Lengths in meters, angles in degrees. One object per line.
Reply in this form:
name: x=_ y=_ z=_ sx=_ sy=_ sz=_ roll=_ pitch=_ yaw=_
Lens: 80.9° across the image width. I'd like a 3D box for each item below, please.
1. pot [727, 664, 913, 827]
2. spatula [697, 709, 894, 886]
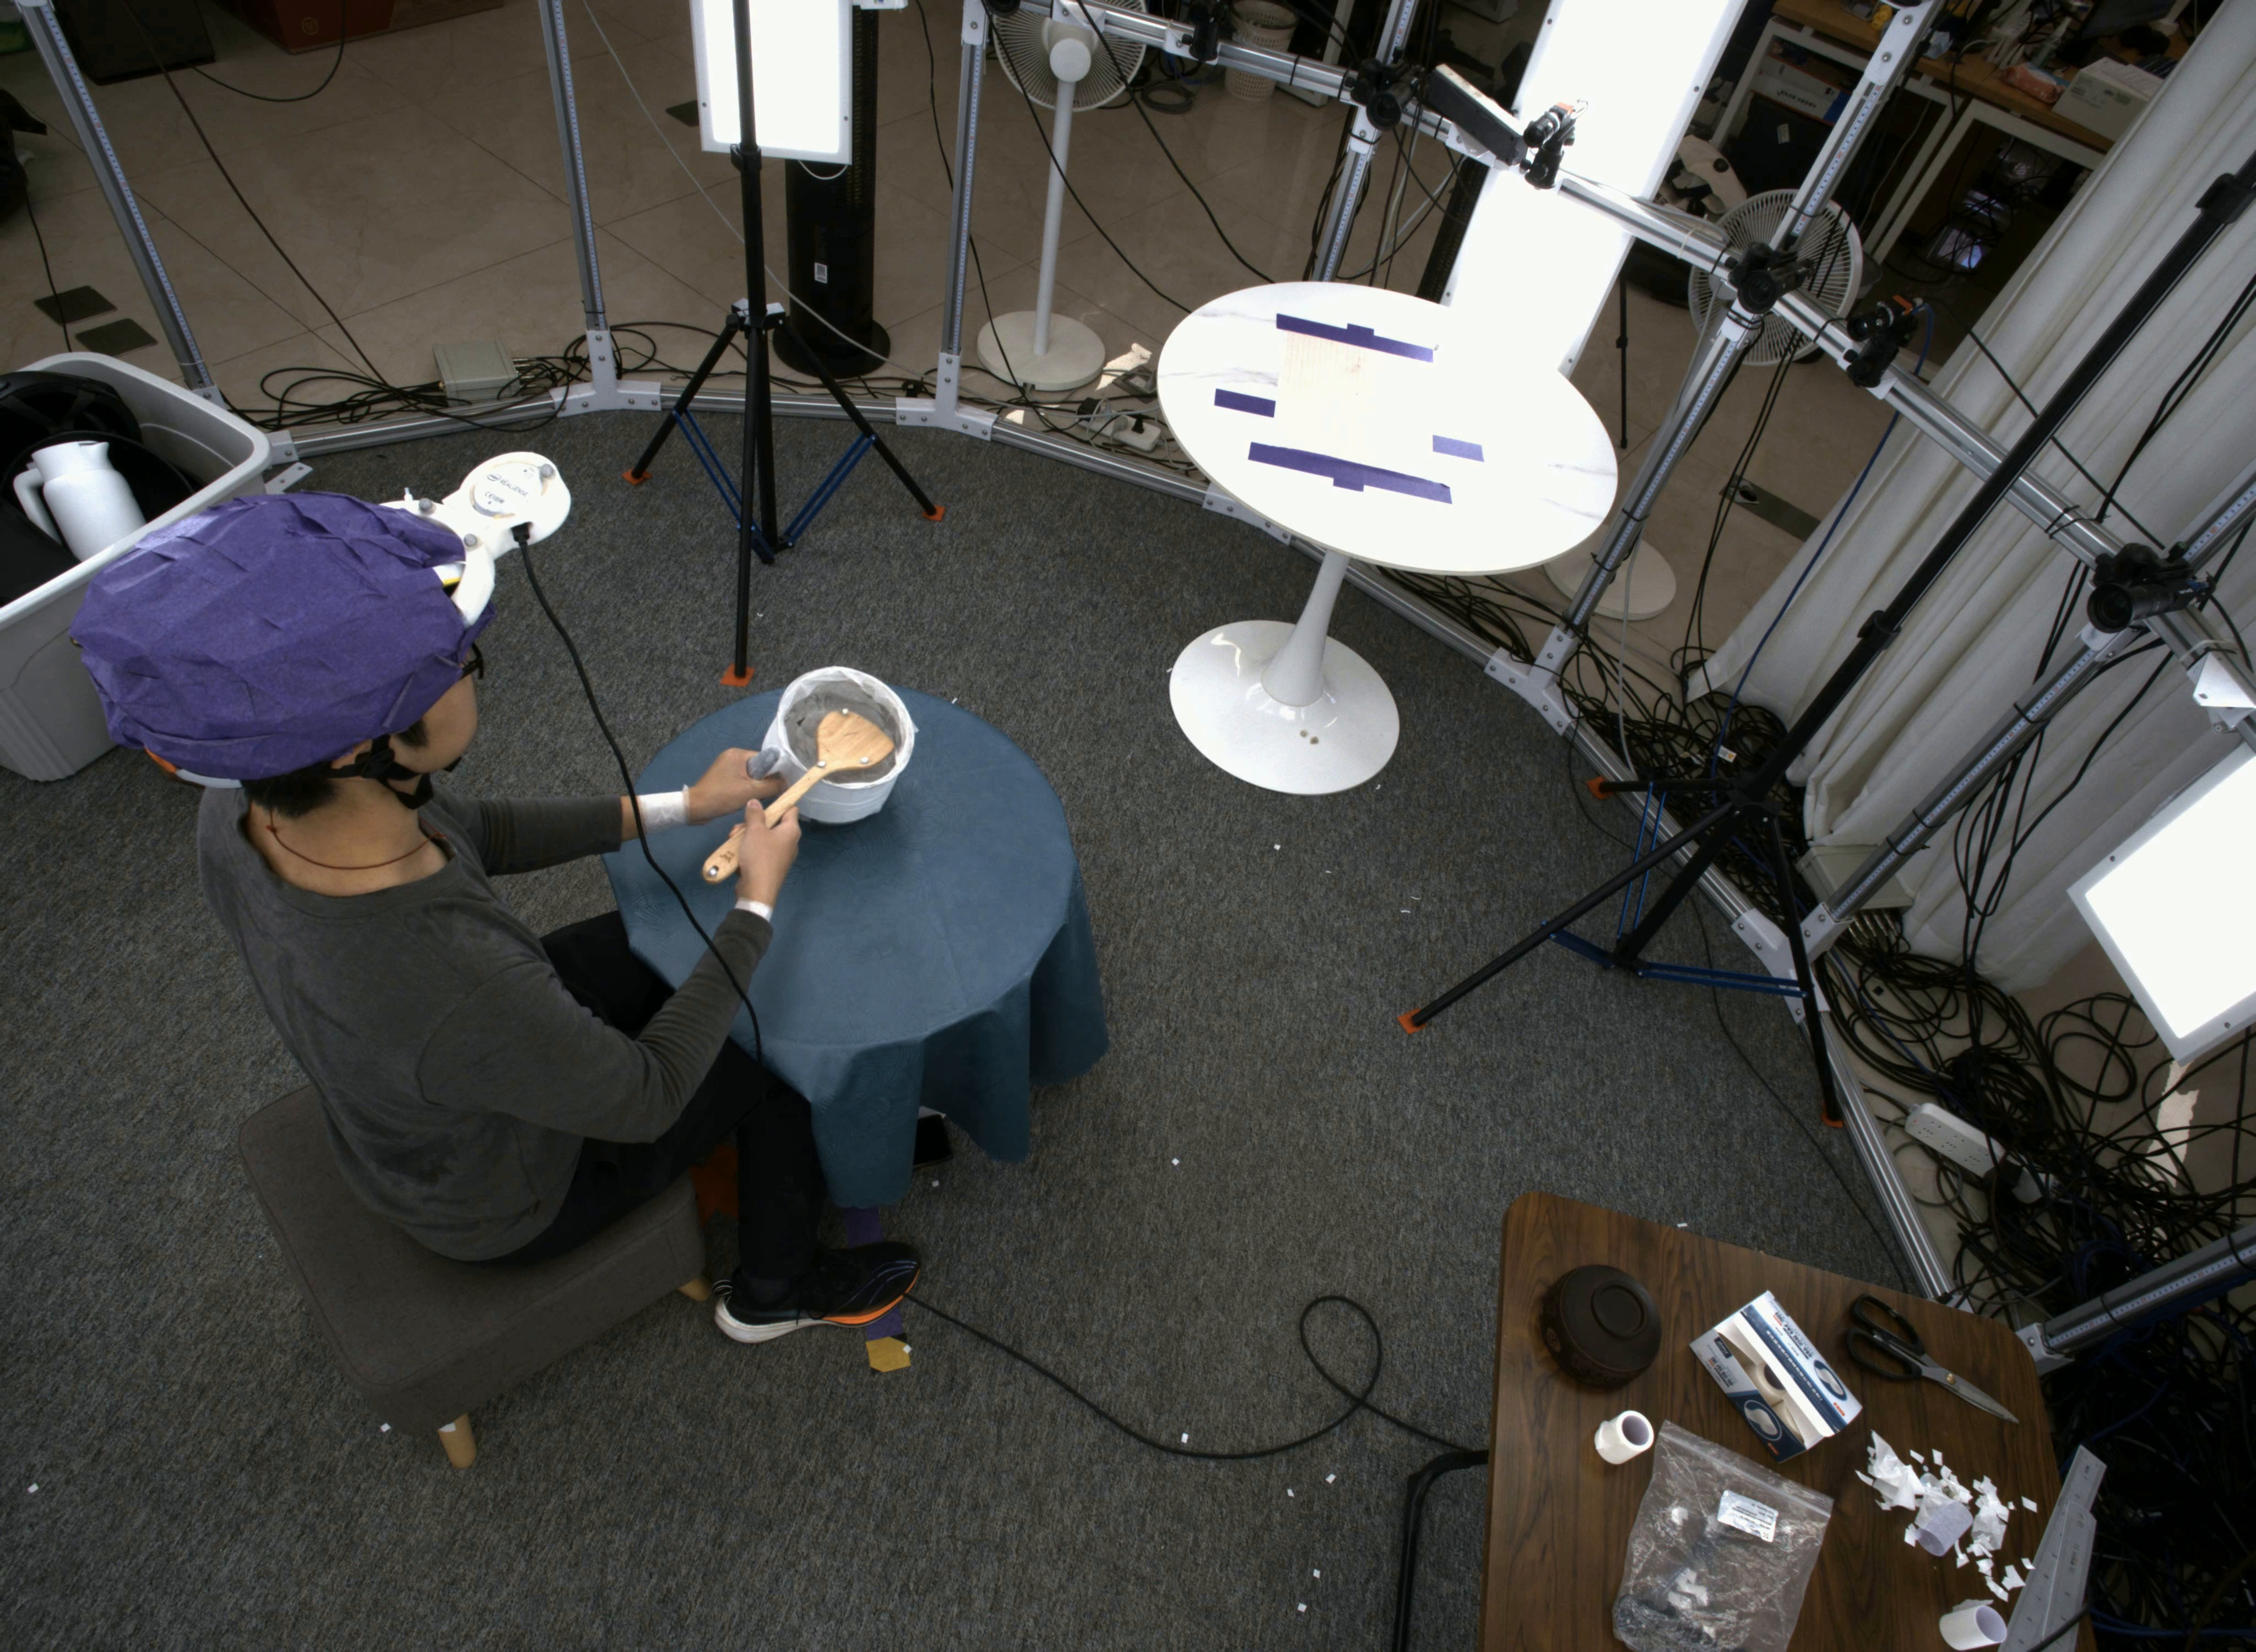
pot: x=-0.404 y=-0.090 z=1.679 sx=0.235 sy=0.136 sz=0.177 roll=-27 pitch=79 yaw=-37
spatula: x=-0.397 y=-0.036 z=1.546 sx=0.096 sy=0.018 sz=0.387 roll=34 pitch=34 yaw=-3
